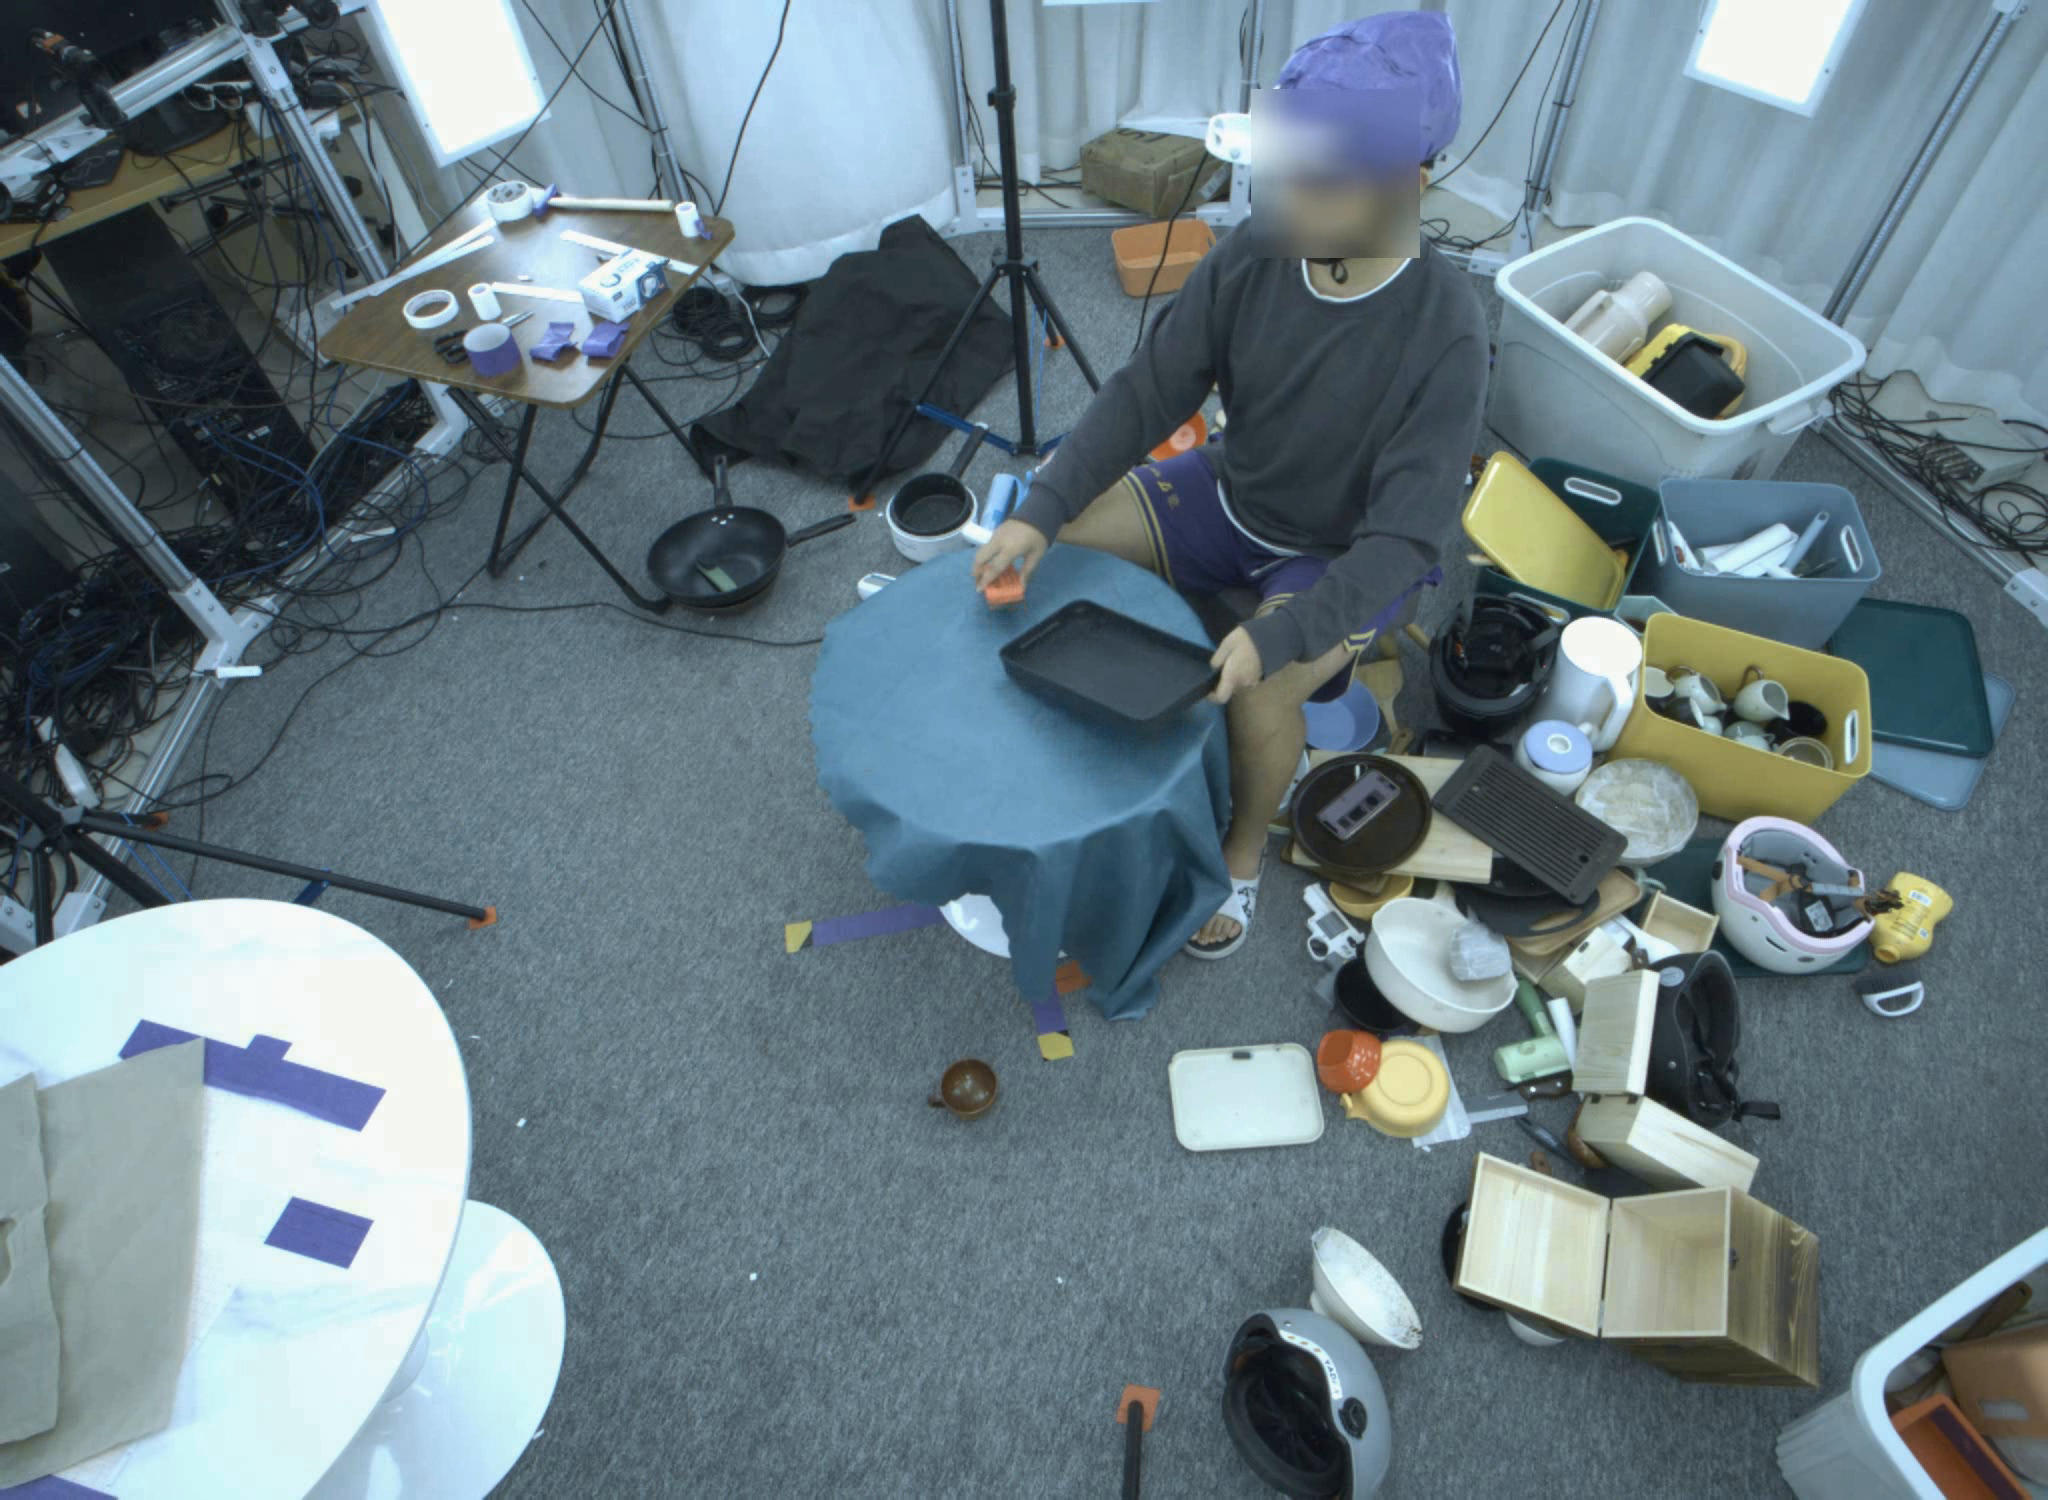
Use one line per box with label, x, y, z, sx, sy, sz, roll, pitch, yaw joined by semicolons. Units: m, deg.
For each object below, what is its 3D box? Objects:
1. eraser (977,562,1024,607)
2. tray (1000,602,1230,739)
eraser;-0.038;-0.261;1.924;0.059;0.023;0.106;-3;37;-13
tray;0.129;-0.121;1.787;0.186;0.037;0.310;-37;43;-29
